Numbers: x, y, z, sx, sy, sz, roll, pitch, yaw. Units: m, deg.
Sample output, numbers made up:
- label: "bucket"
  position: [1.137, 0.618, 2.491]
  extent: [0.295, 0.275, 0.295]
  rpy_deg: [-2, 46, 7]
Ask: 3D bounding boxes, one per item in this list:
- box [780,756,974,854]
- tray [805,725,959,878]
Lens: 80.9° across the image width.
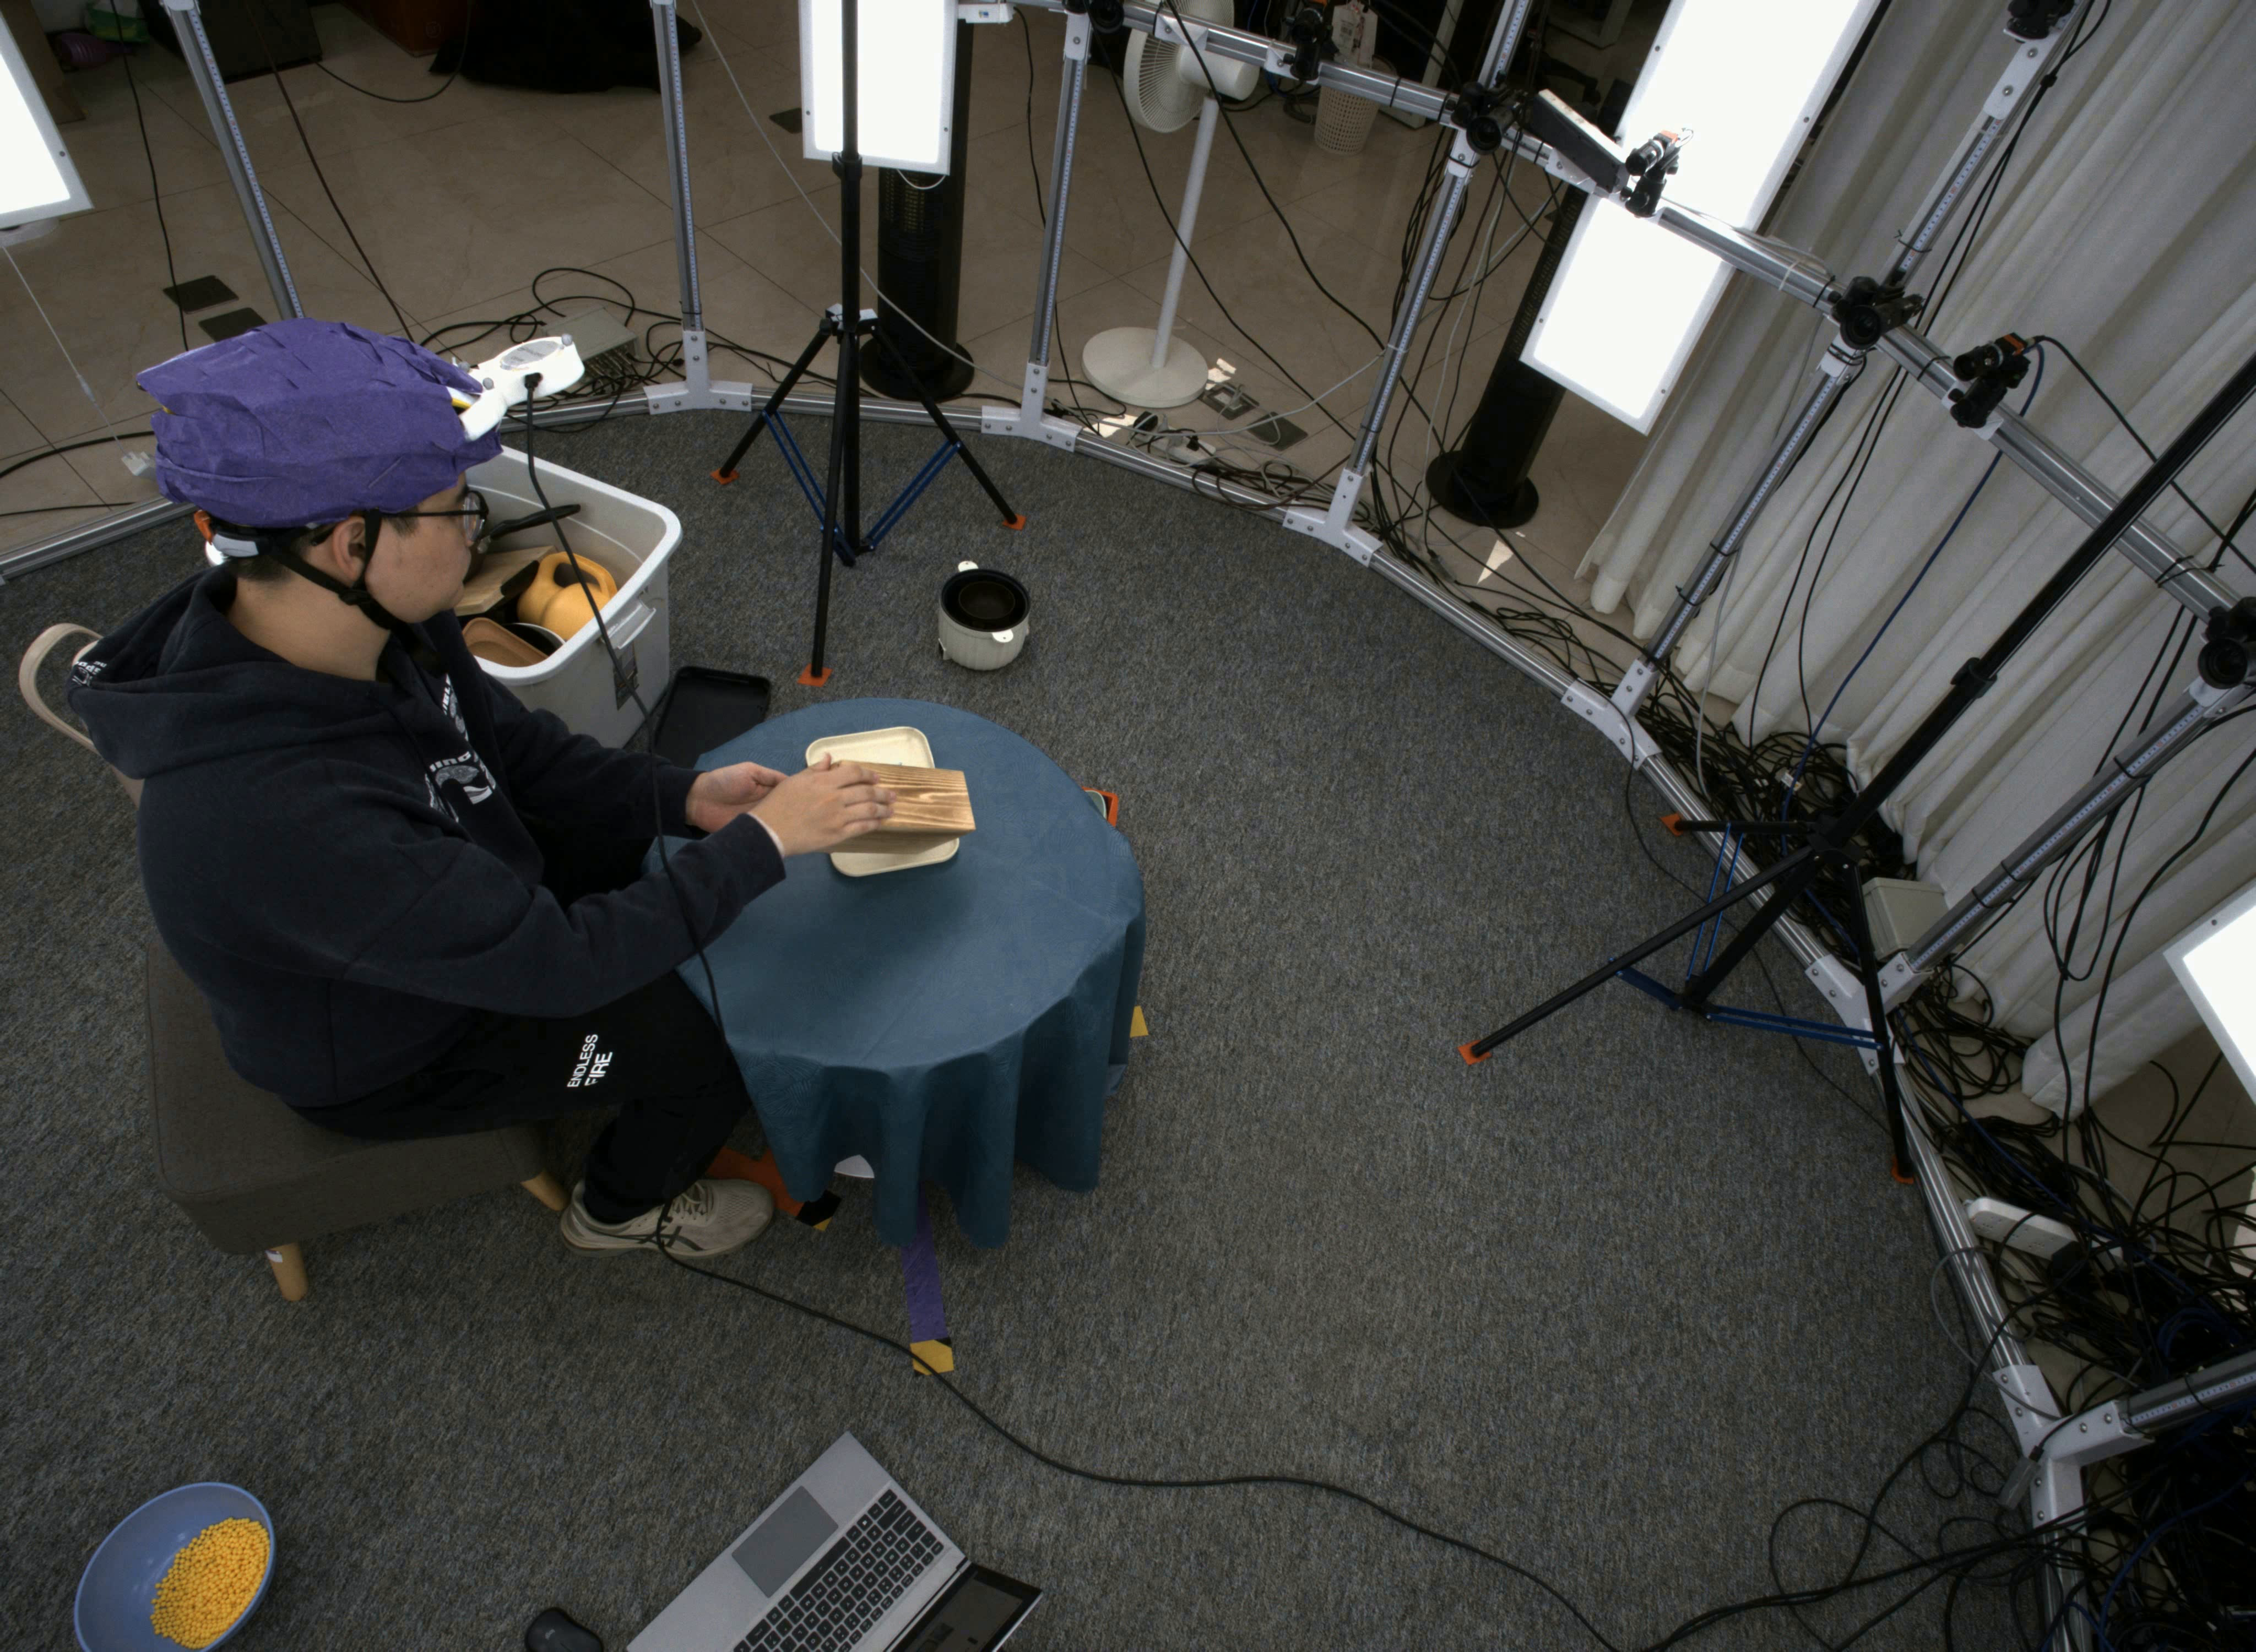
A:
- label: "box"
  position: [-0.303, -0.022, 1.584]
  extent: [0.216, 0.105, 0.080]
  rpy_deg: [3, 71, -56]
- label: "tray"
  position: [-0.334, -0.036, 1.758]
  extent: [0.172, 0.018, 0.234]
  rpy_deg: [-10, 57, -20]
